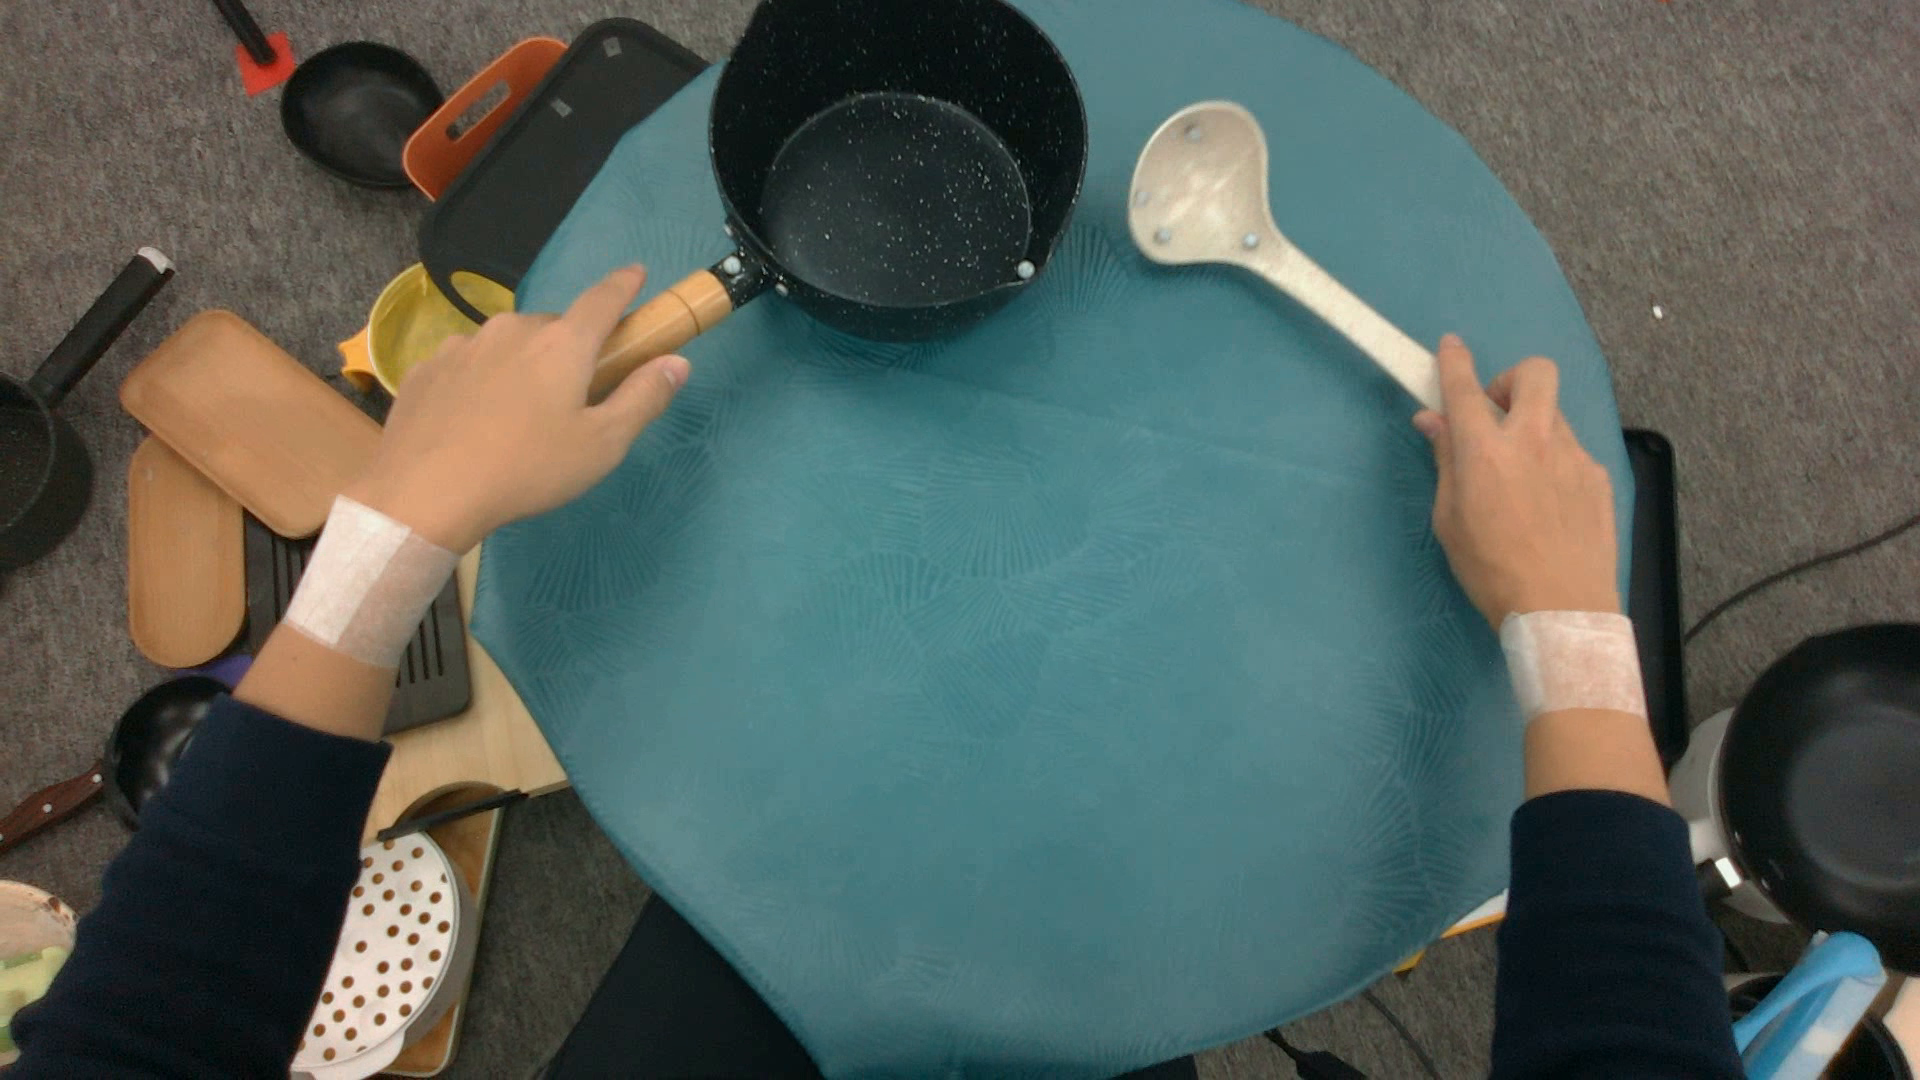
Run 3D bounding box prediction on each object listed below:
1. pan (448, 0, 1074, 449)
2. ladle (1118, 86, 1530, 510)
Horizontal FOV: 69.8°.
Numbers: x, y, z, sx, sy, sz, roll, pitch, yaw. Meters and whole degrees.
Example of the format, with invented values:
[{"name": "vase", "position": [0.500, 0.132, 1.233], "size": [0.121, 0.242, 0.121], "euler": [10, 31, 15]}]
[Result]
[{"name": "pan", "position": [-0.095, -0.143, 0.678], "size": [0.343, 0.108, 0.207], "euler": [-43, 83, -15]}, {"name": "ladle", "position": [0.194, -0.120, 0.705], "size": [0.089, 0.069, 0.275], "euler": [-43, 78, -4]}]
